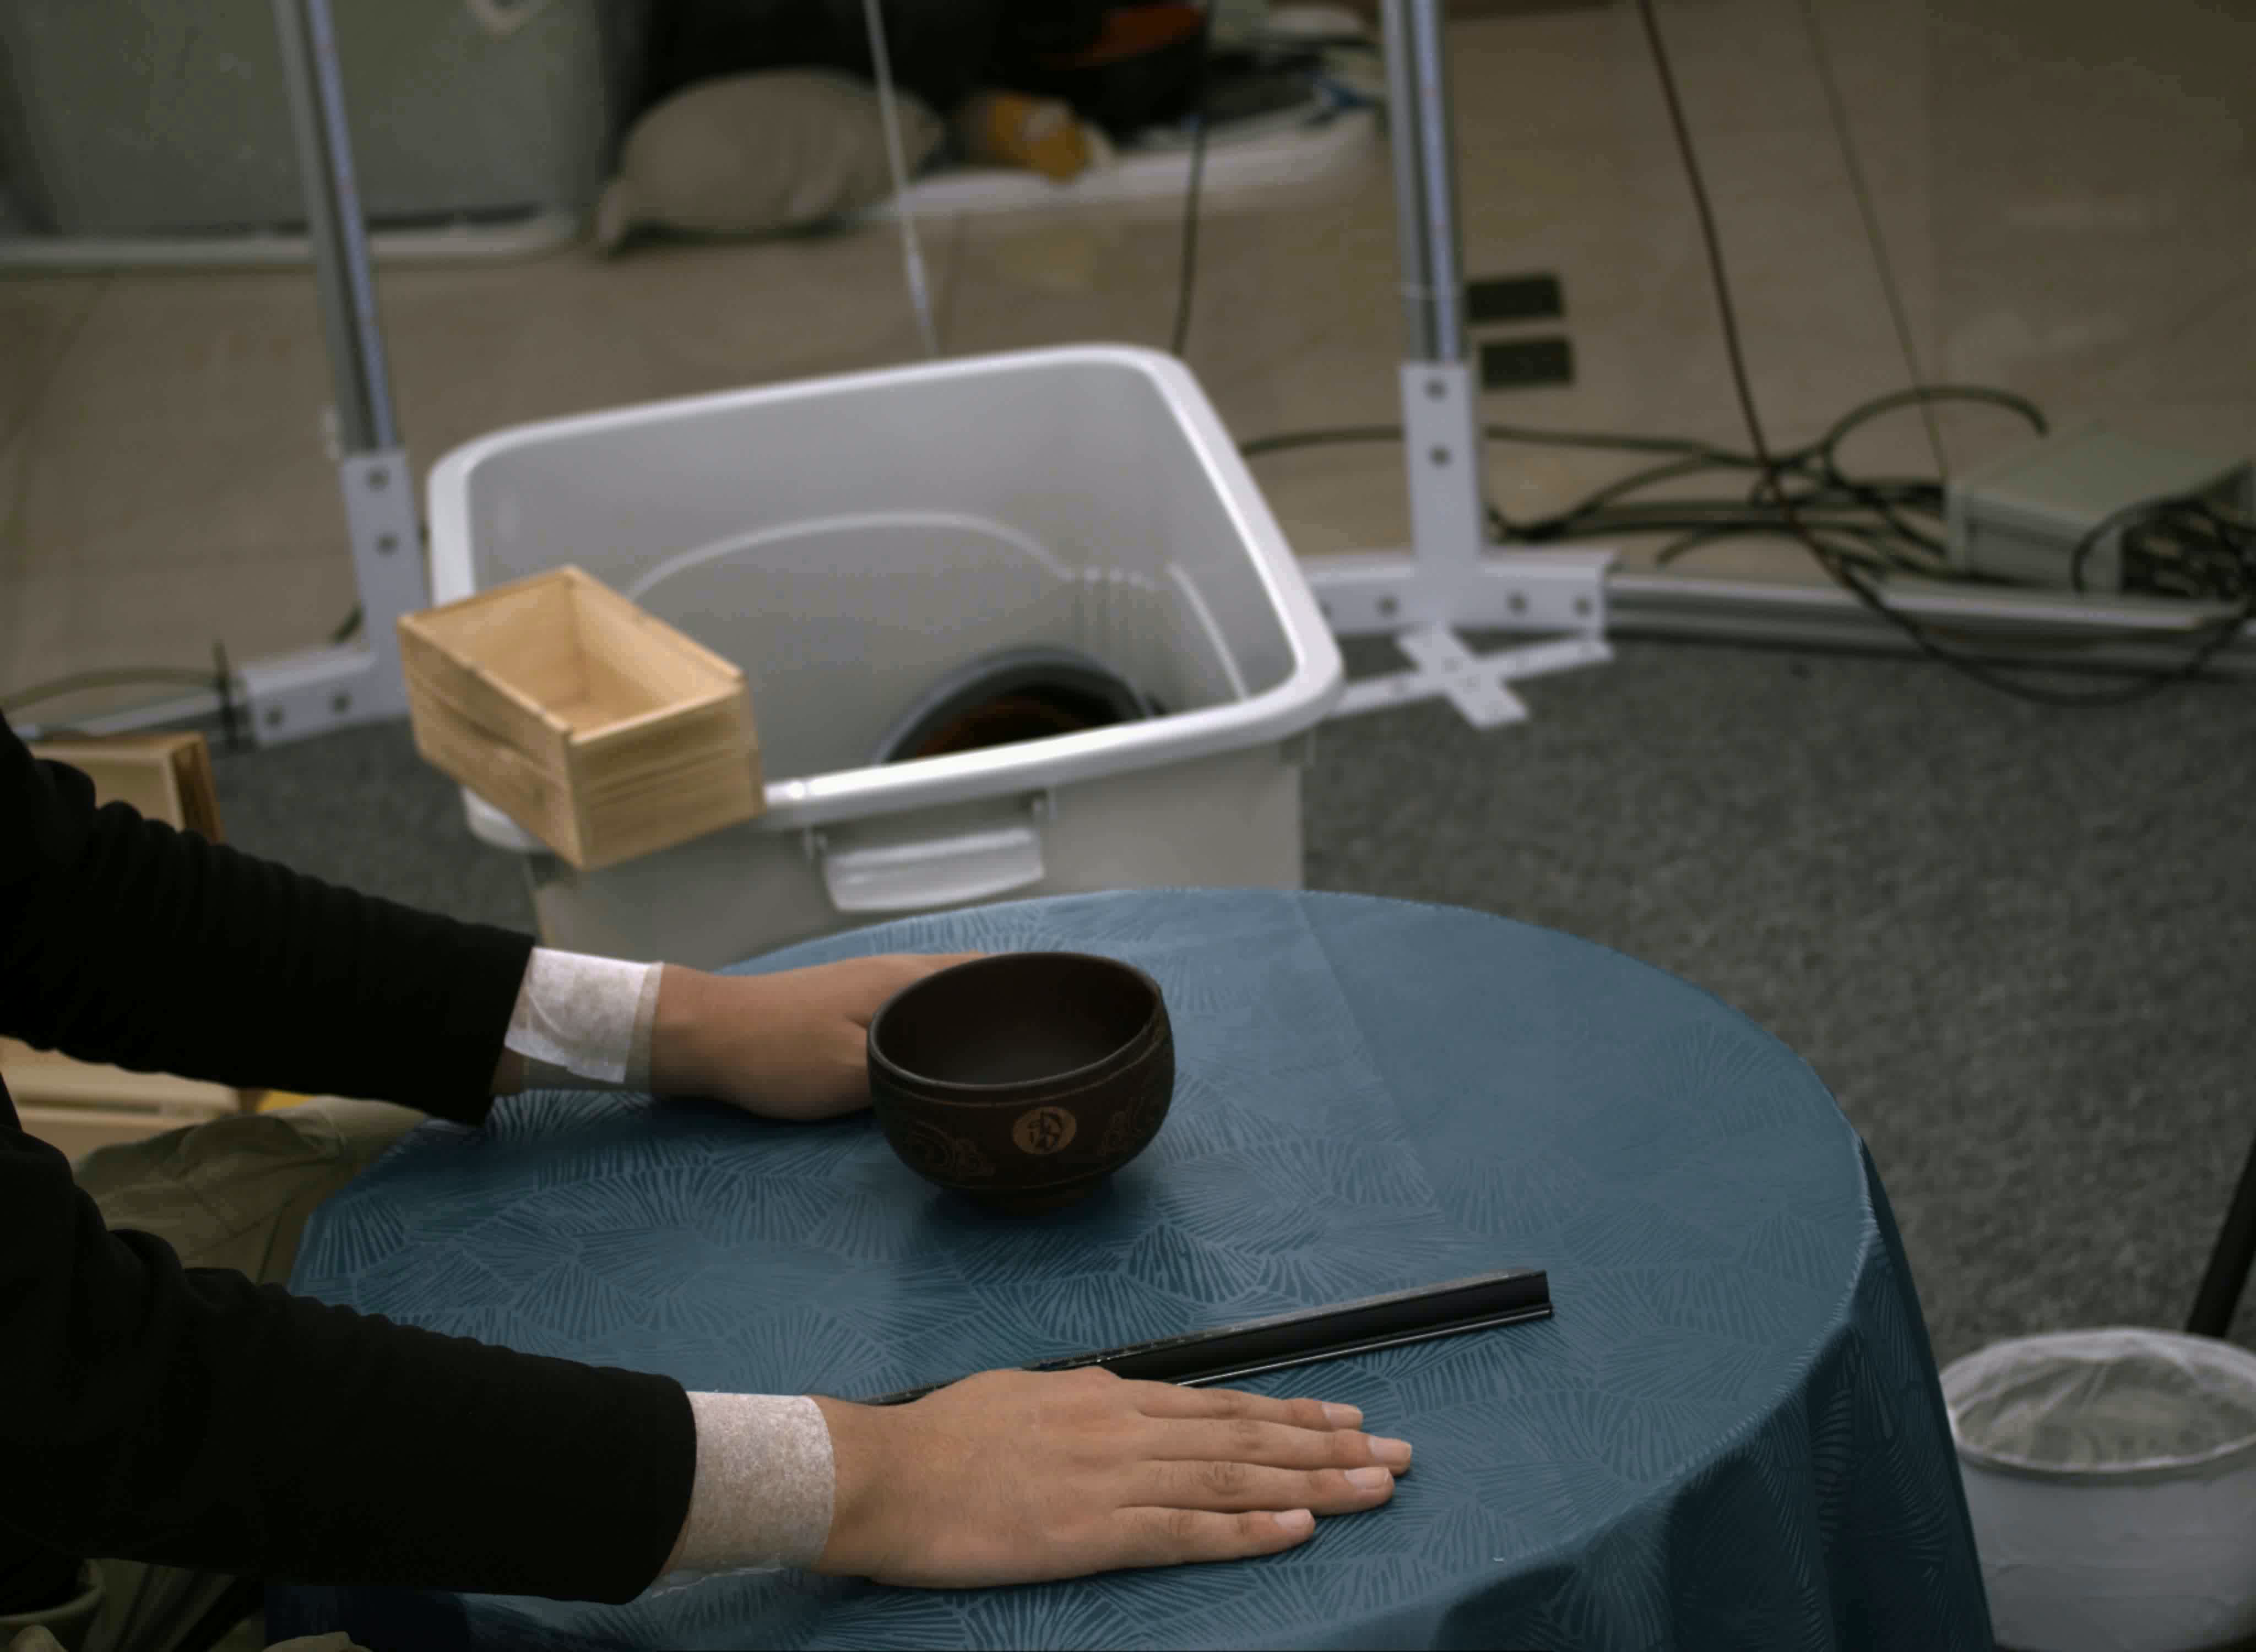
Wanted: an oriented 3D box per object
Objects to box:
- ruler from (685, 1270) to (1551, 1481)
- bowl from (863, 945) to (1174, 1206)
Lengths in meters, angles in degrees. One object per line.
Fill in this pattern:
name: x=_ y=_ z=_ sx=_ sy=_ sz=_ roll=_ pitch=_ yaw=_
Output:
ruler: x=-0.004 y=0.189 z=2.024 sx=0.312 sy=0.017 sz=0.039 roll=-10 pitch=21 yaw=-8
bowl: x=-0.040 y=0.101 z=2.151 sx=0.118 sy=0.071 sz=0.116 roll=-5 pitch=25 yaw=2
